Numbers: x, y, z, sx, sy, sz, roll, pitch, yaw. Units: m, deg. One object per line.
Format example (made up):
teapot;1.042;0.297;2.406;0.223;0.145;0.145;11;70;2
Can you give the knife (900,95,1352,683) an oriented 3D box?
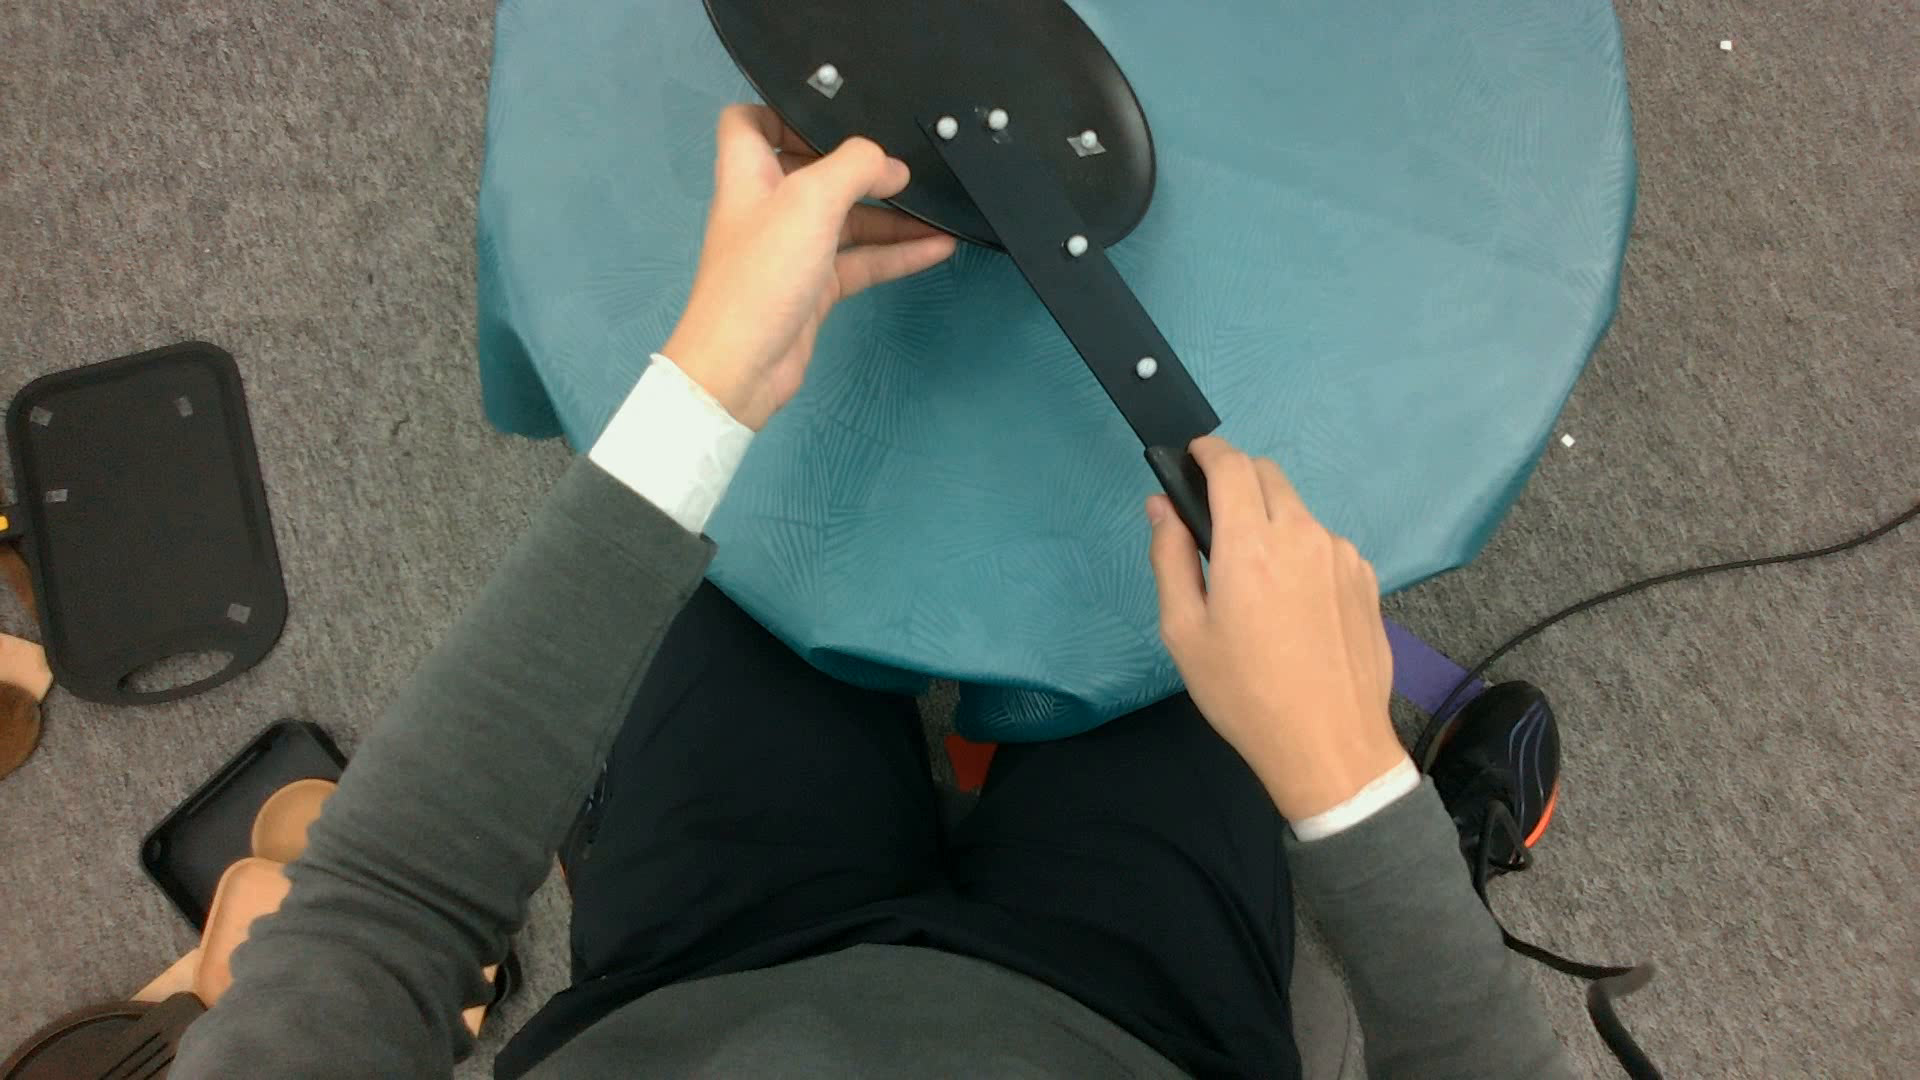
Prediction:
knife;0.075;-0.067;0.591;0.021;0.081;0.302;-36;85;40

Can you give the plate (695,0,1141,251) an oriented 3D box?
plate;-0.019;-0.226;0.649;0.244;0.023;0.245;20;48;-24
